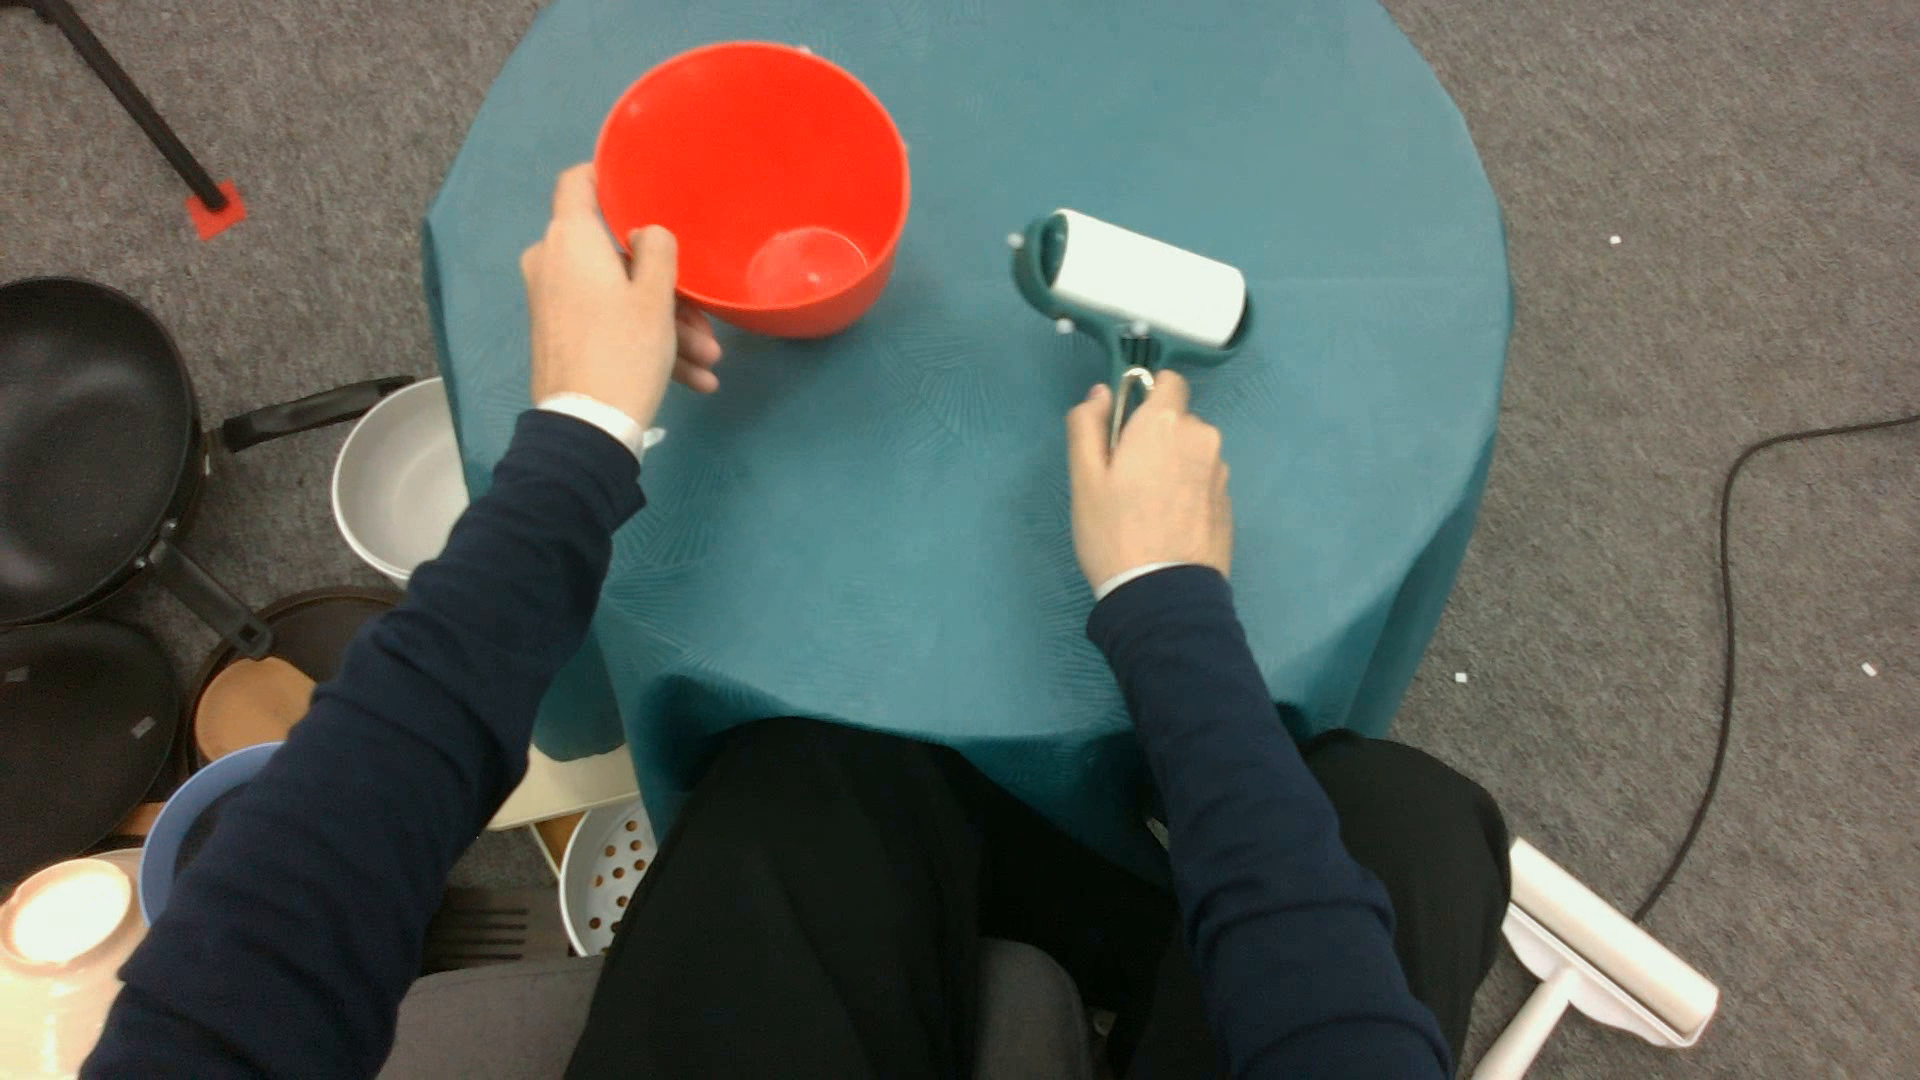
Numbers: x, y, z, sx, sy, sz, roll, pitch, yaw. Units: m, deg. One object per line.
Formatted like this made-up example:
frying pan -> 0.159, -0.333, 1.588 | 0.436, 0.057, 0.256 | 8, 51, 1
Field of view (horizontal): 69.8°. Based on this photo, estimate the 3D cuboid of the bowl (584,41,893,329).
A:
bowl -> -0.104, -0.166, 0.706 | 0.148, 0.104, 0.148 | -1, 68, 2

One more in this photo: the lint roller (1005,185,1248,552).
lint roller -> 0.083, -0.083, 0.686 | 0.134, 0.048, 0.181 | 14, 61, -19
